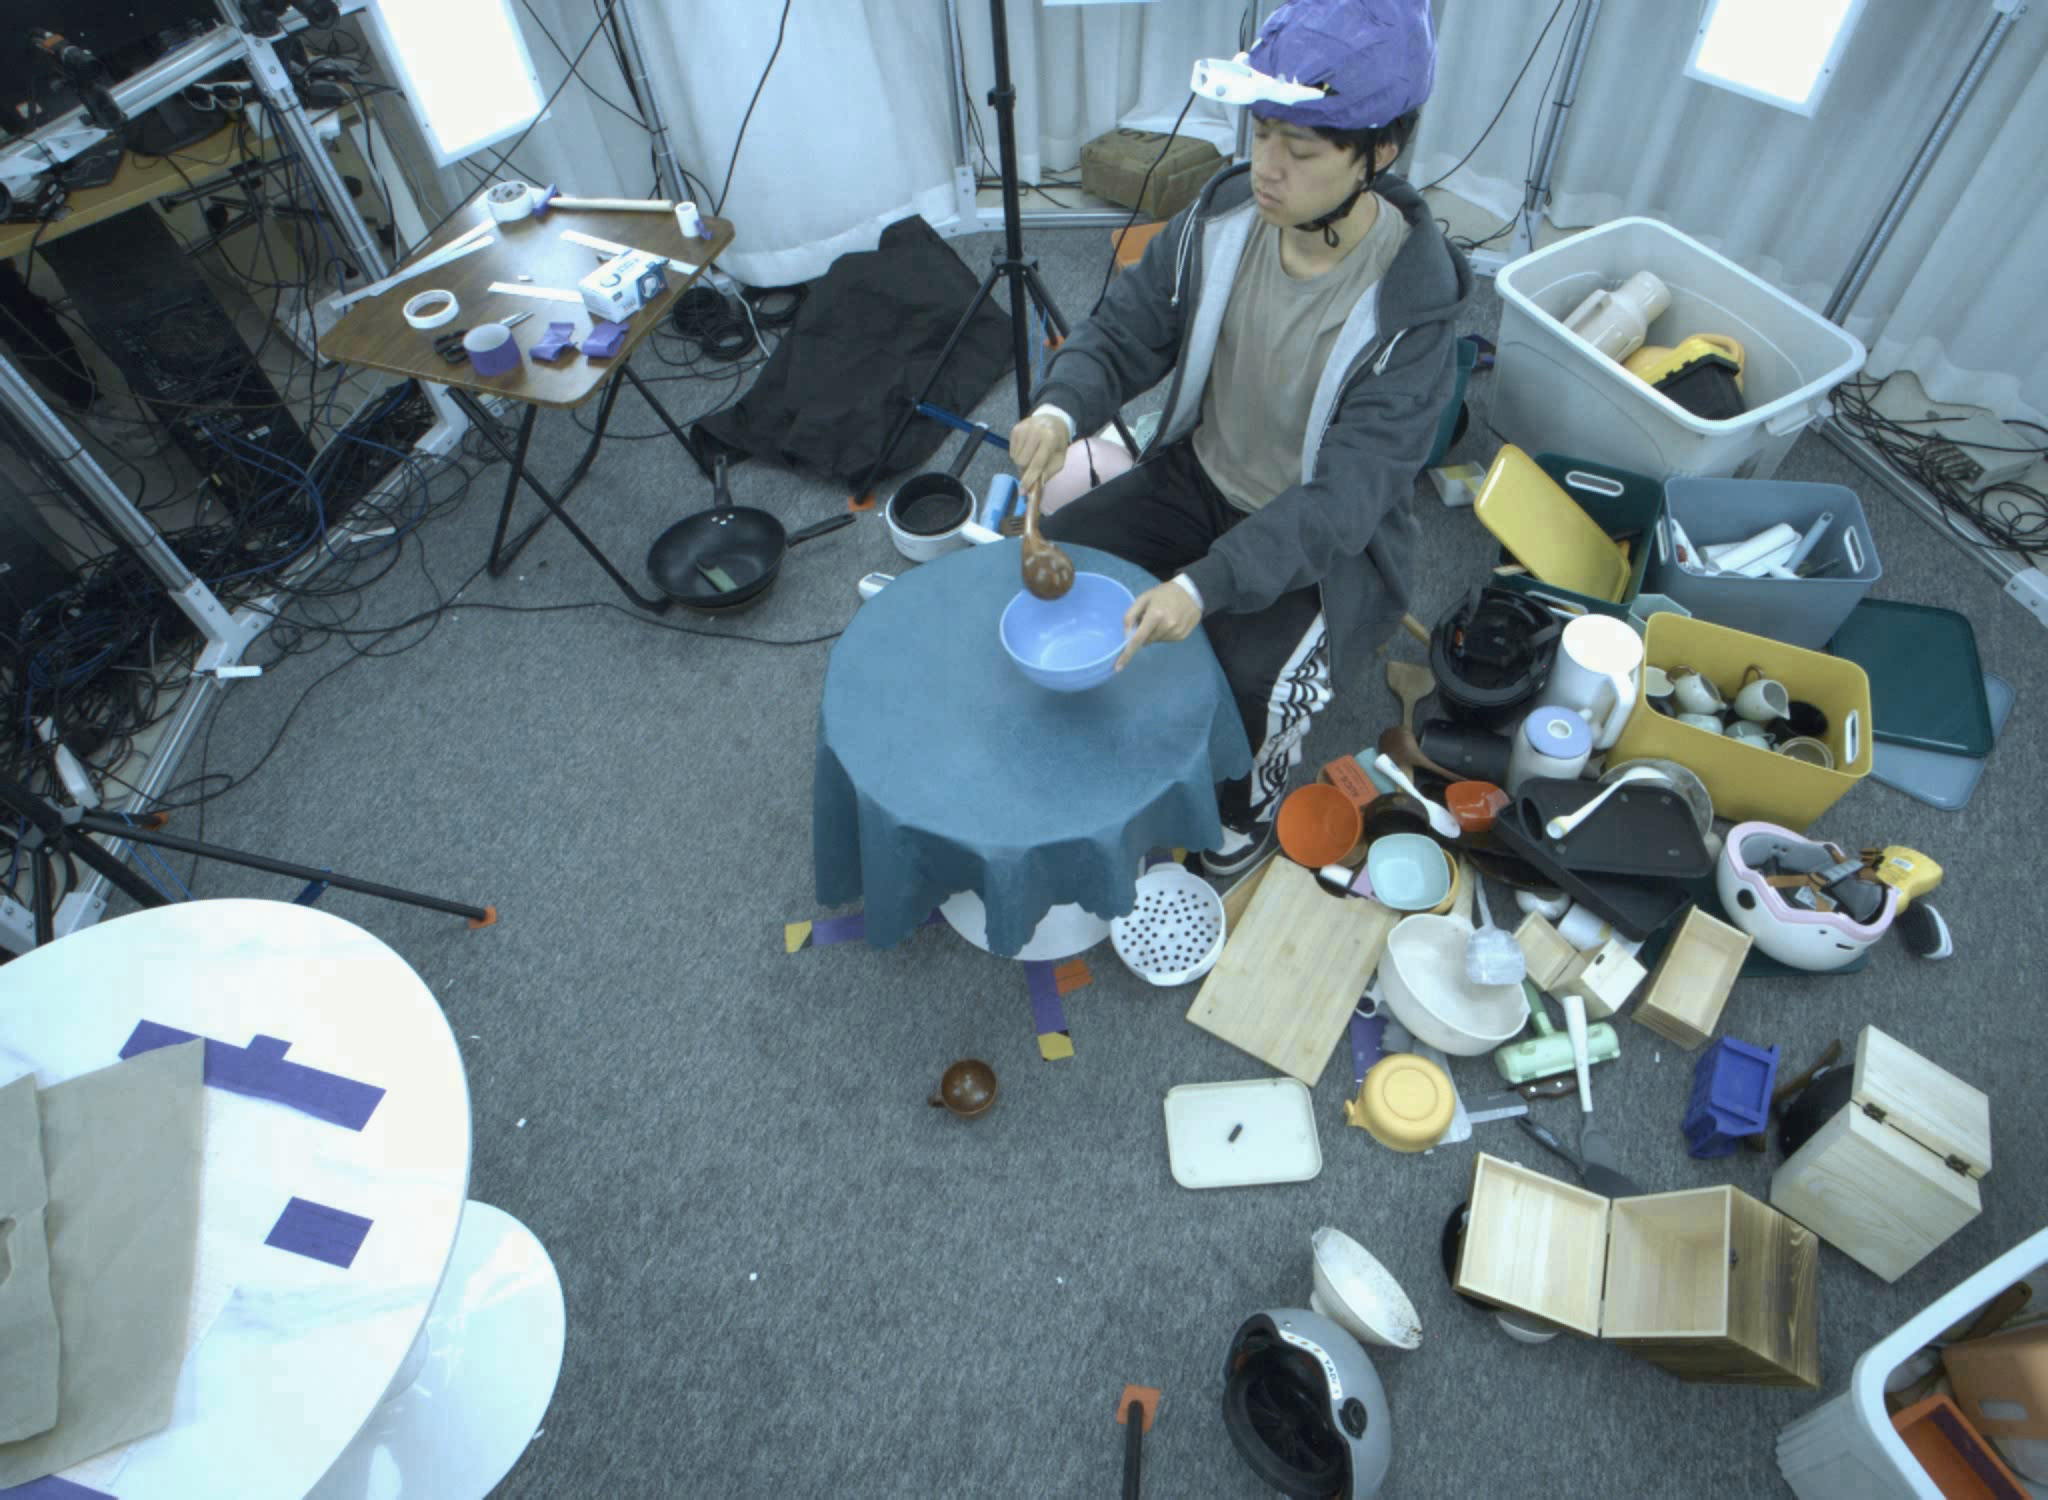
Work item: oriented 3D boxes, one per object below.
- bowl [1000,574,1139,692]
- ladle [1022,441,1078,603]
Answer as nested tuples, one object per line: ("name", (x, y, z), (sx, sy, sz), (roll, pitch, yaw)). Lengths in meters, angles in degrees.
("bowl", (0.070, -0.152, 1.755), (0.195, 0.097, 0.194), (-5, 50, 7))
("ladle", (0.033, -0.325, 1.717), (0.078, 0.081, 0.271), (27, 47, -34))
